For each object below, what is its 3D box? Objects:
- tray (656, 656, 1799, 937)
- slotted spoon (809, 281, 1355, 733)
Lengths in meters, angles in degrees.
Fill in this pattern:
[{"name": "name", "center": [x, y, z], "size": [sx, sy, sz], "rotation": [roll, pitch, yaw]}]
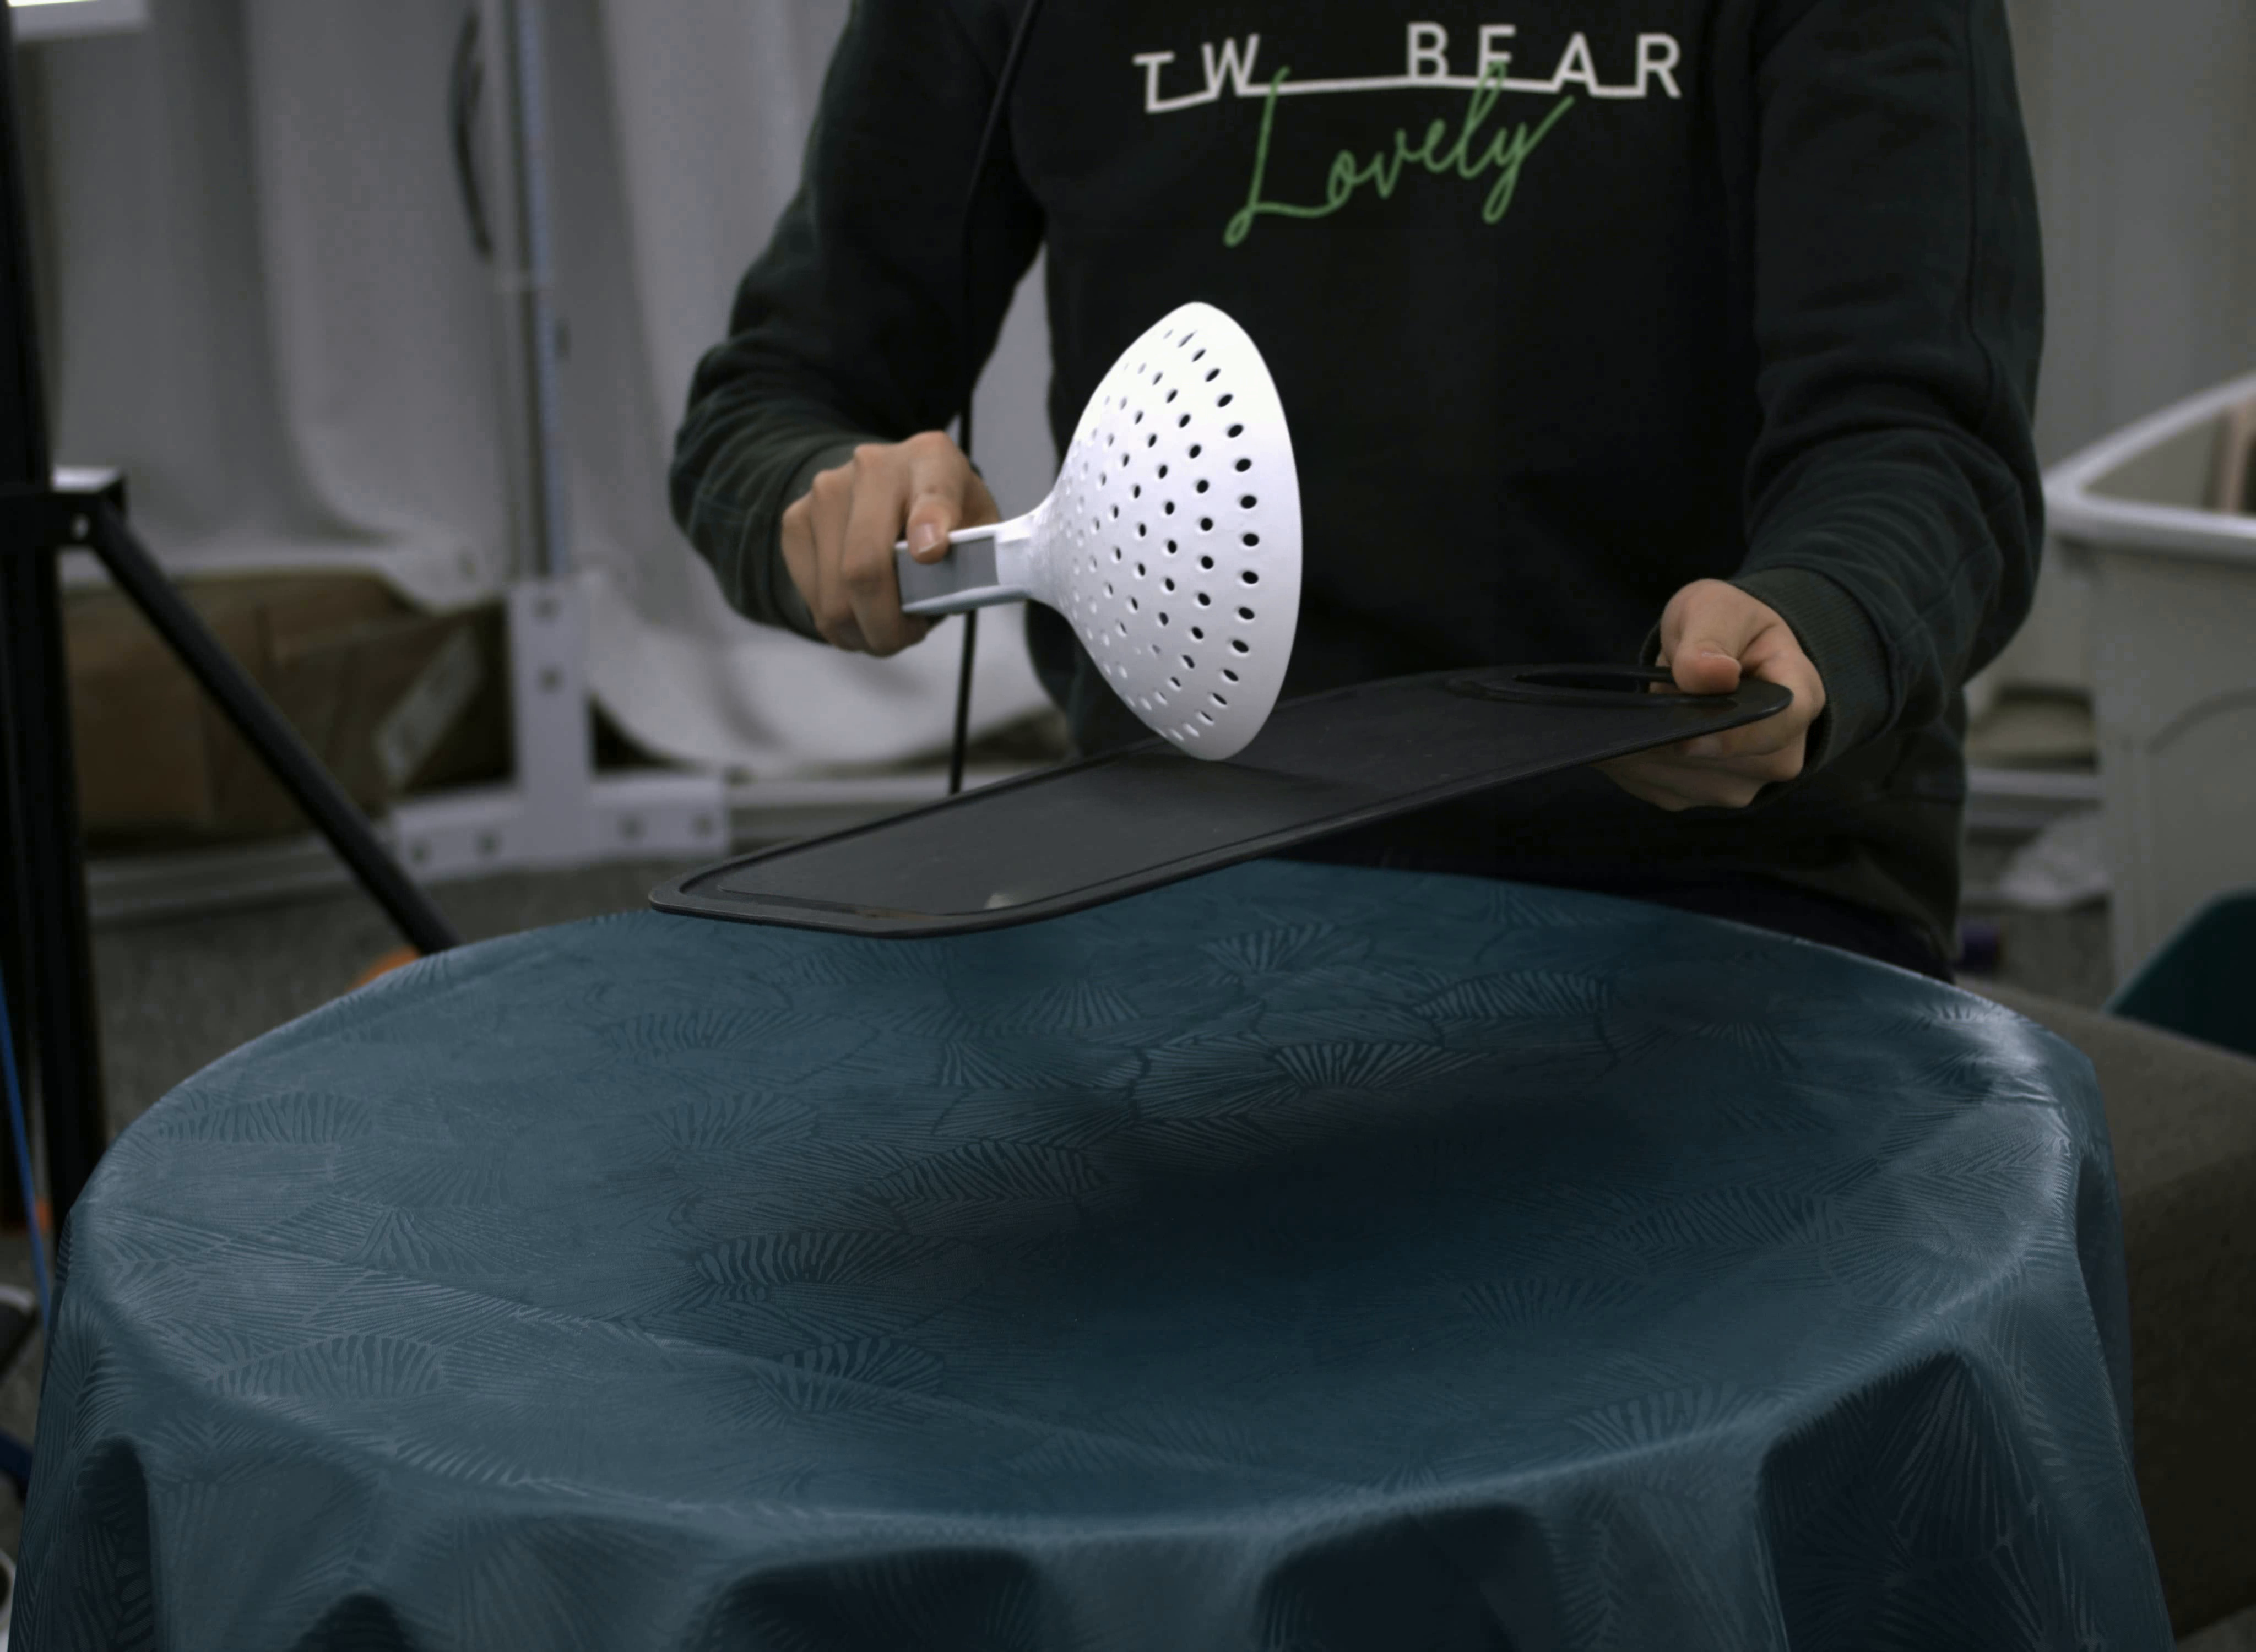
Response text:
[{"name": "tray", "center": [0.035, -0.013, 1.540], "size": [0.318, 0.010, 0.215], "rotation": [-16, 11, -29]}, {"name": "slotted spoon", "center": [-0.024, -0.085, 1.684], "size": [0.045, 0.136, 0.355], "rotation": [-12, 1, -22]}]
